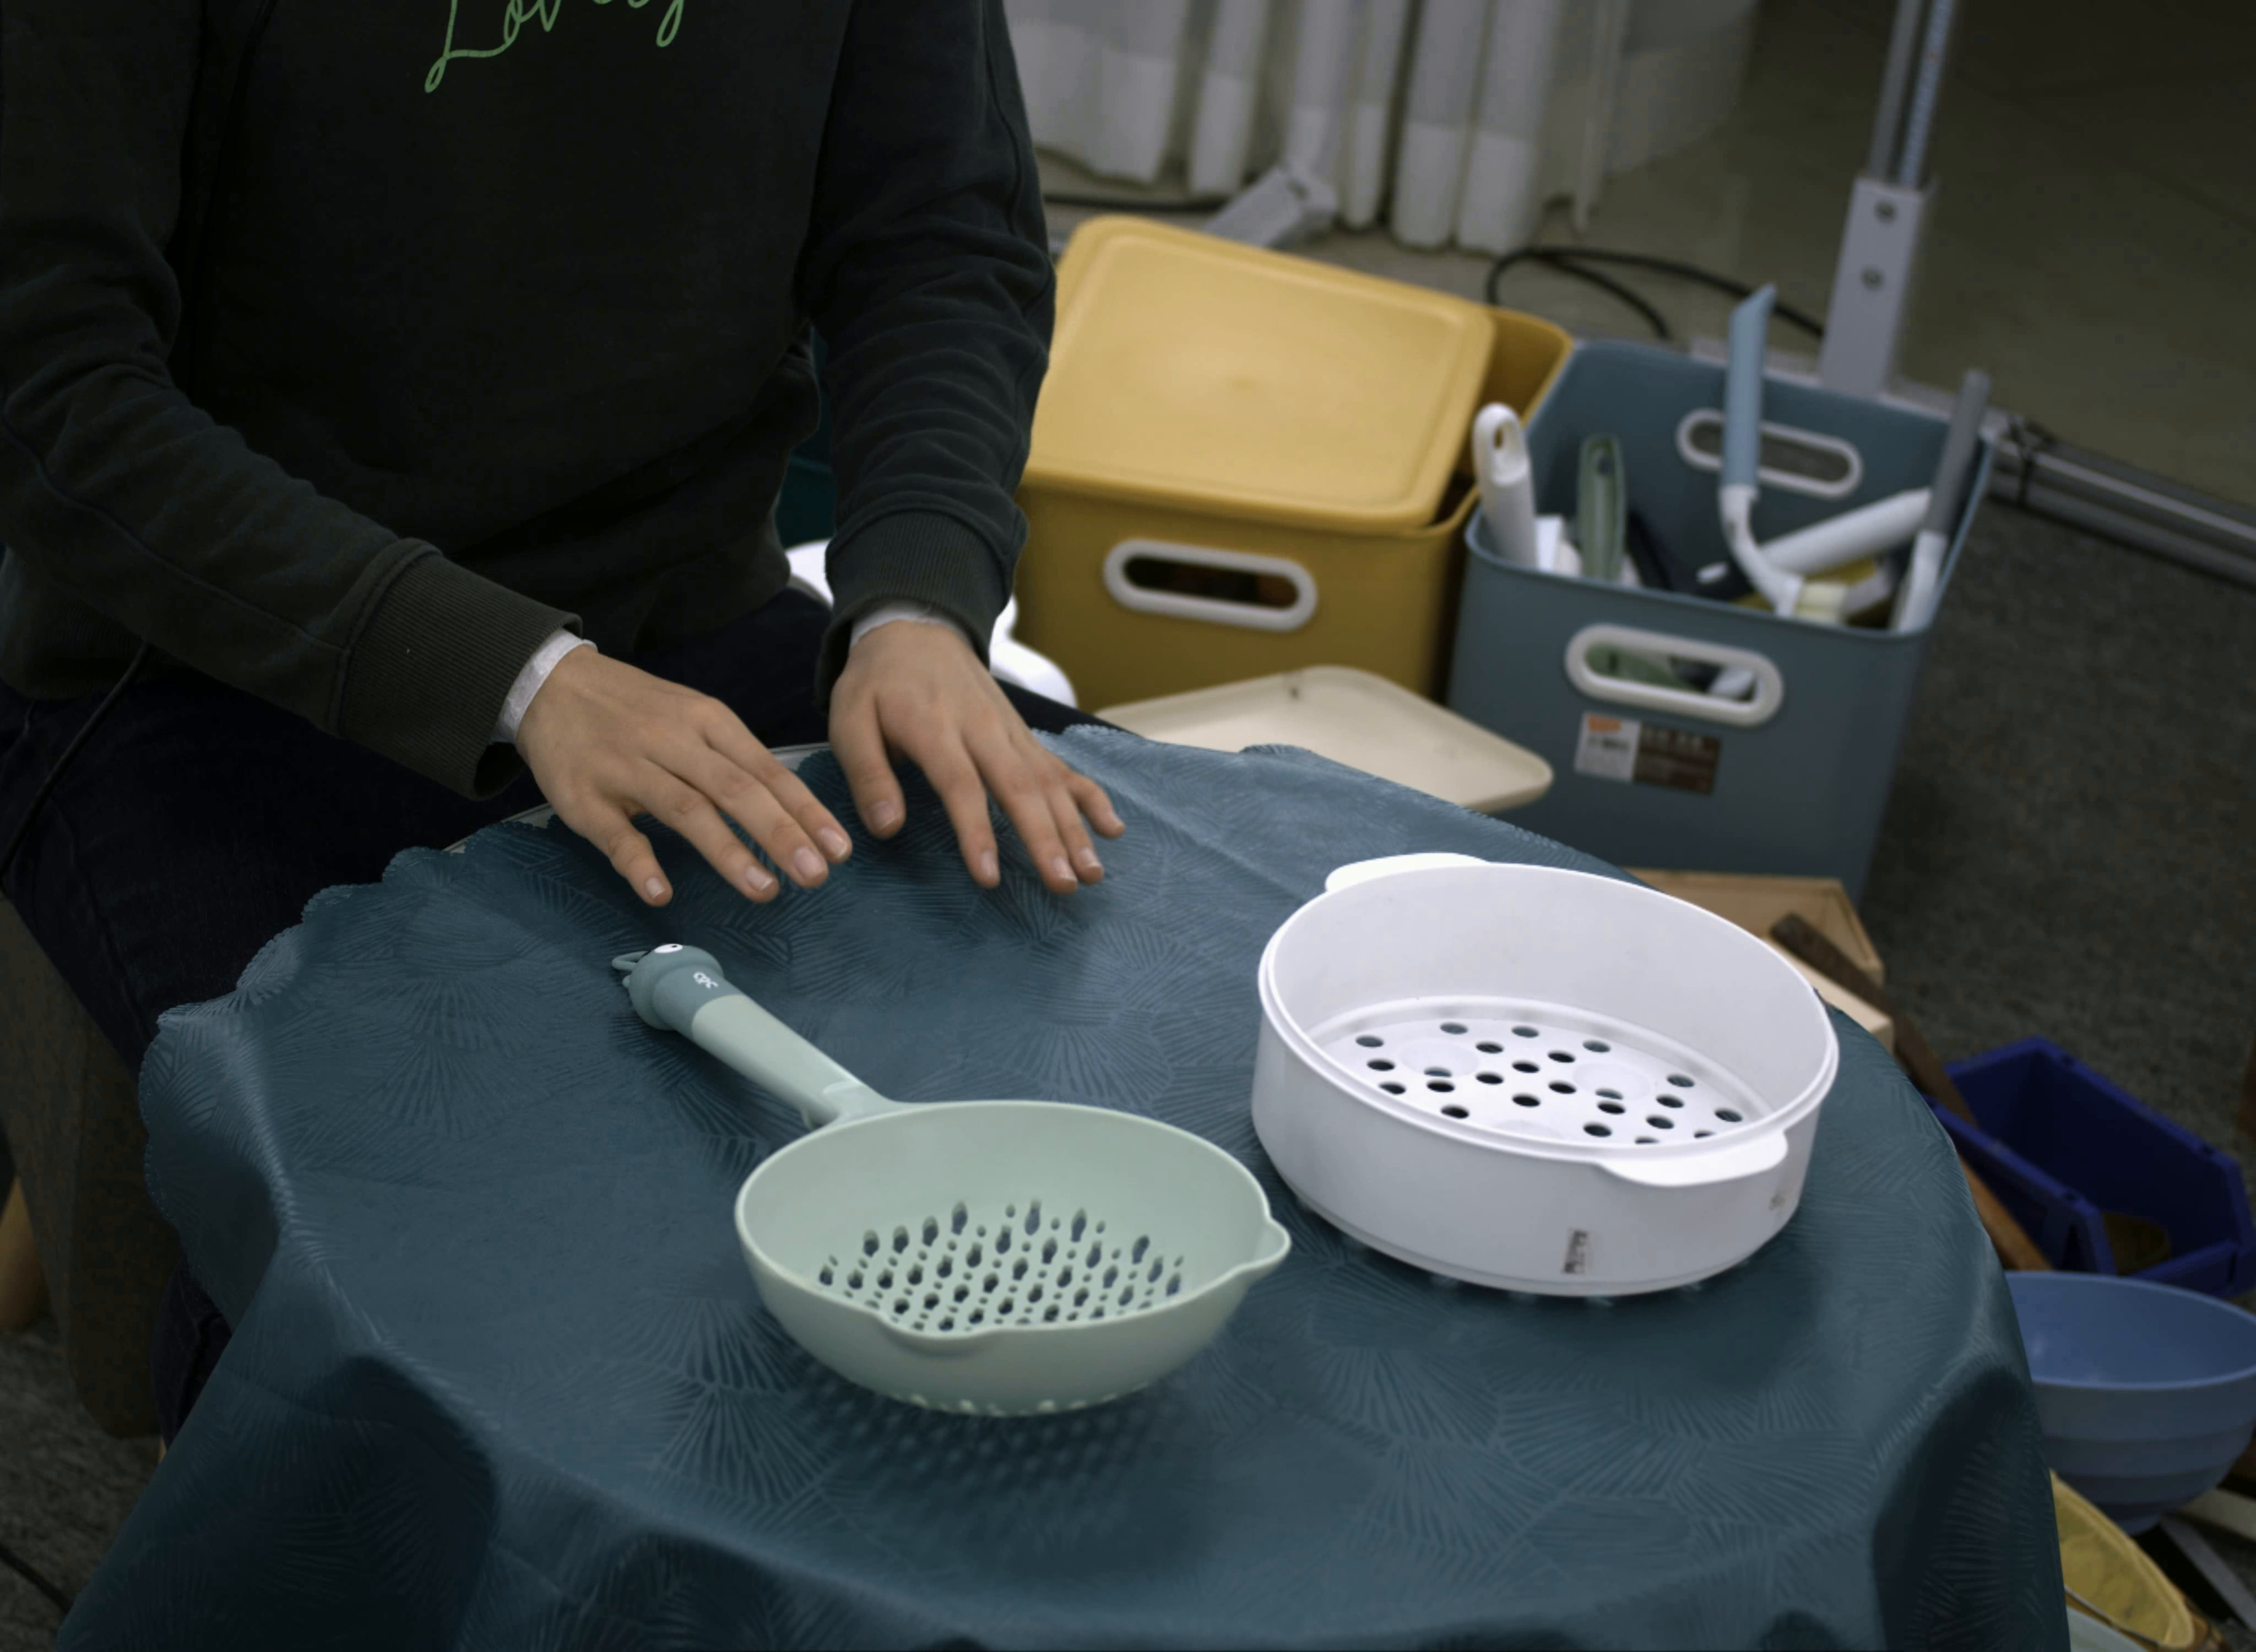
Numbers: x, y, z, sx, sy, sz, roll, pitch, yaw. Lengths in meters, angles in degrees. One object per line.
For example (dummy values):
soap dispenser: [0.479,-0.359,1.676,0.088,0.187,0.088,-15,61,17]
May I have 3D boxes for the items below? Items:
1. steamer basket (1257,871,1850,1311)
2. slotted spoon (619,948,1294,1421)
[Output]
steamer basket: [0.143,0.092,1.825,0.200,0.069,0.232,-7,29,-27]
slotted spoon: [-0.088,0.102,1.753,0.168,0.075,0.362,-10,31,-28]
